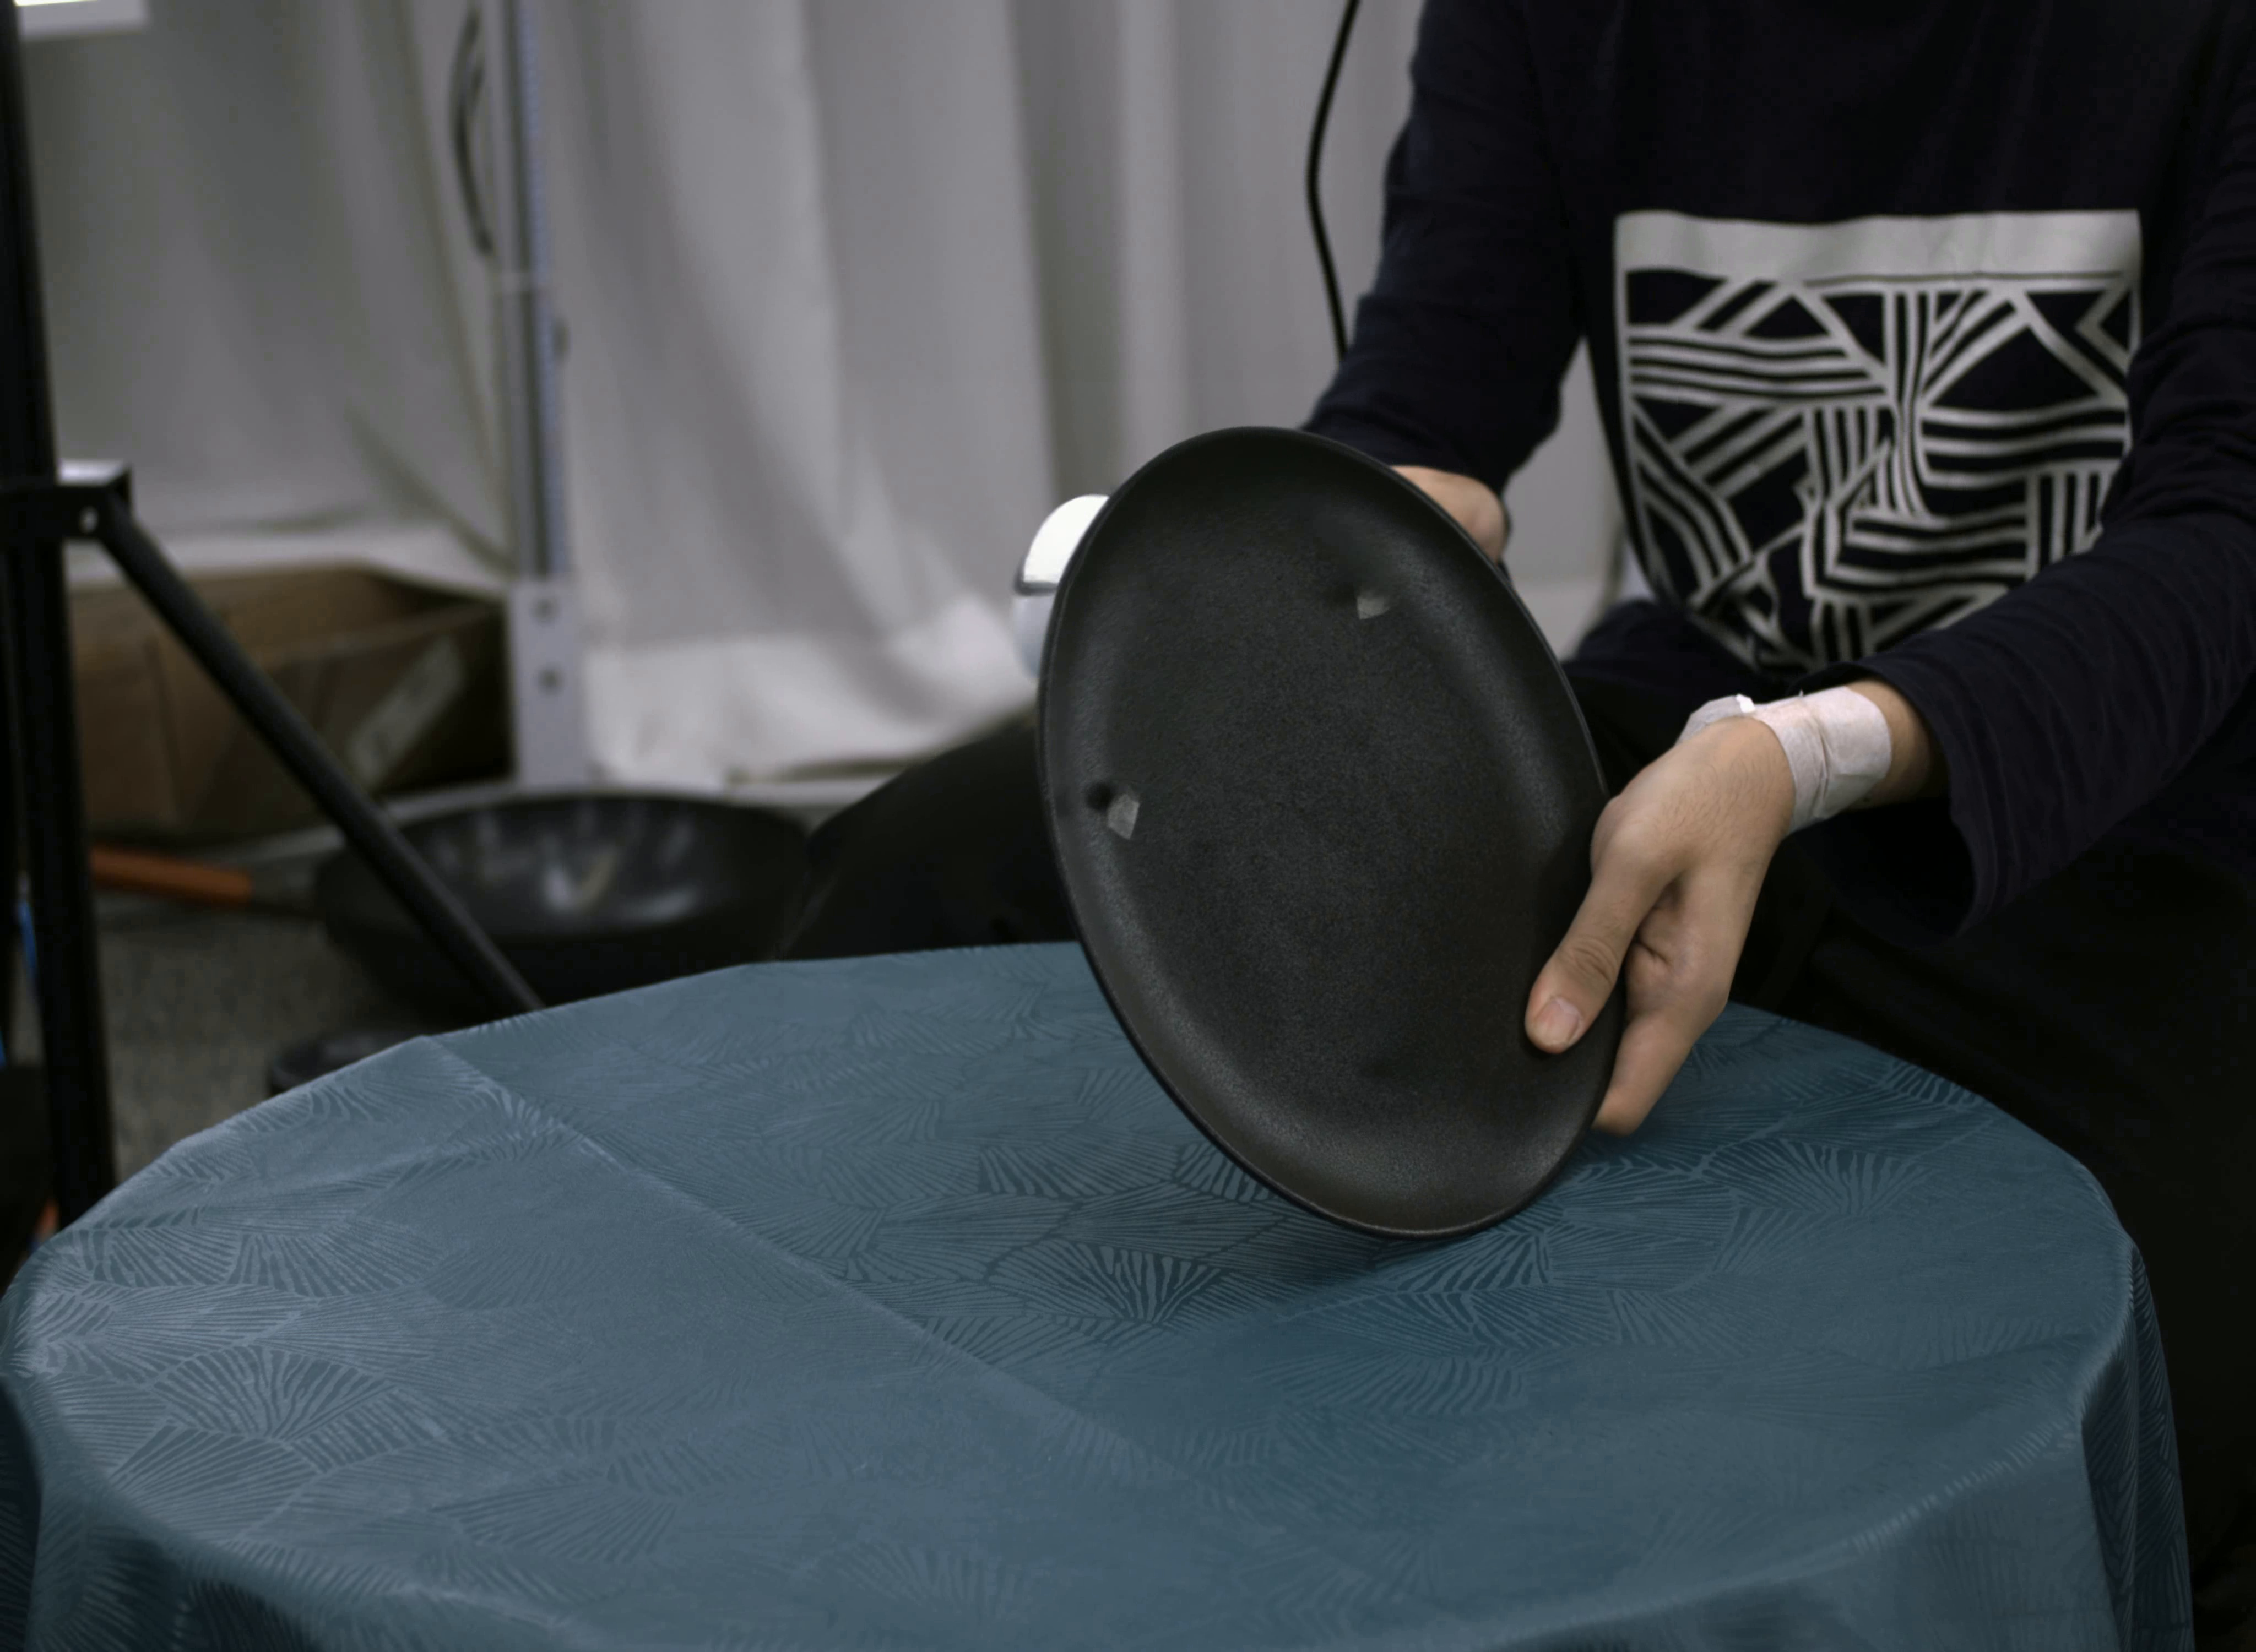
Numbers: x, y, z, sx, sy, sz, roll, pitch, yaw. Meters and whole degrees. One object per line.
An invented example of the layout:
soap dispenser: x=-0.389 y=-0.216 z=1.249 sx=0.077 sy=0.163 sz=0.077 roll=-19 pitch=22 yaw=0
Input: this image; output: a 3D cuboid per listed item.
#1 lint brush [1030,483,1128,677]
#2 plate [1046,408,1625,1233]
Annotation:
lint brush: x=0.046 y=-0.072 z=1.632 sx=0.021 sy=0.060 sz=0.302 roll=12 pitch=5 yaw=26
plate: x=0.058 y=-0.001 z=1.531 sx=0.024 sy=0.245 sz=0.239 roll=-21 pitch=-1 yaw=43
